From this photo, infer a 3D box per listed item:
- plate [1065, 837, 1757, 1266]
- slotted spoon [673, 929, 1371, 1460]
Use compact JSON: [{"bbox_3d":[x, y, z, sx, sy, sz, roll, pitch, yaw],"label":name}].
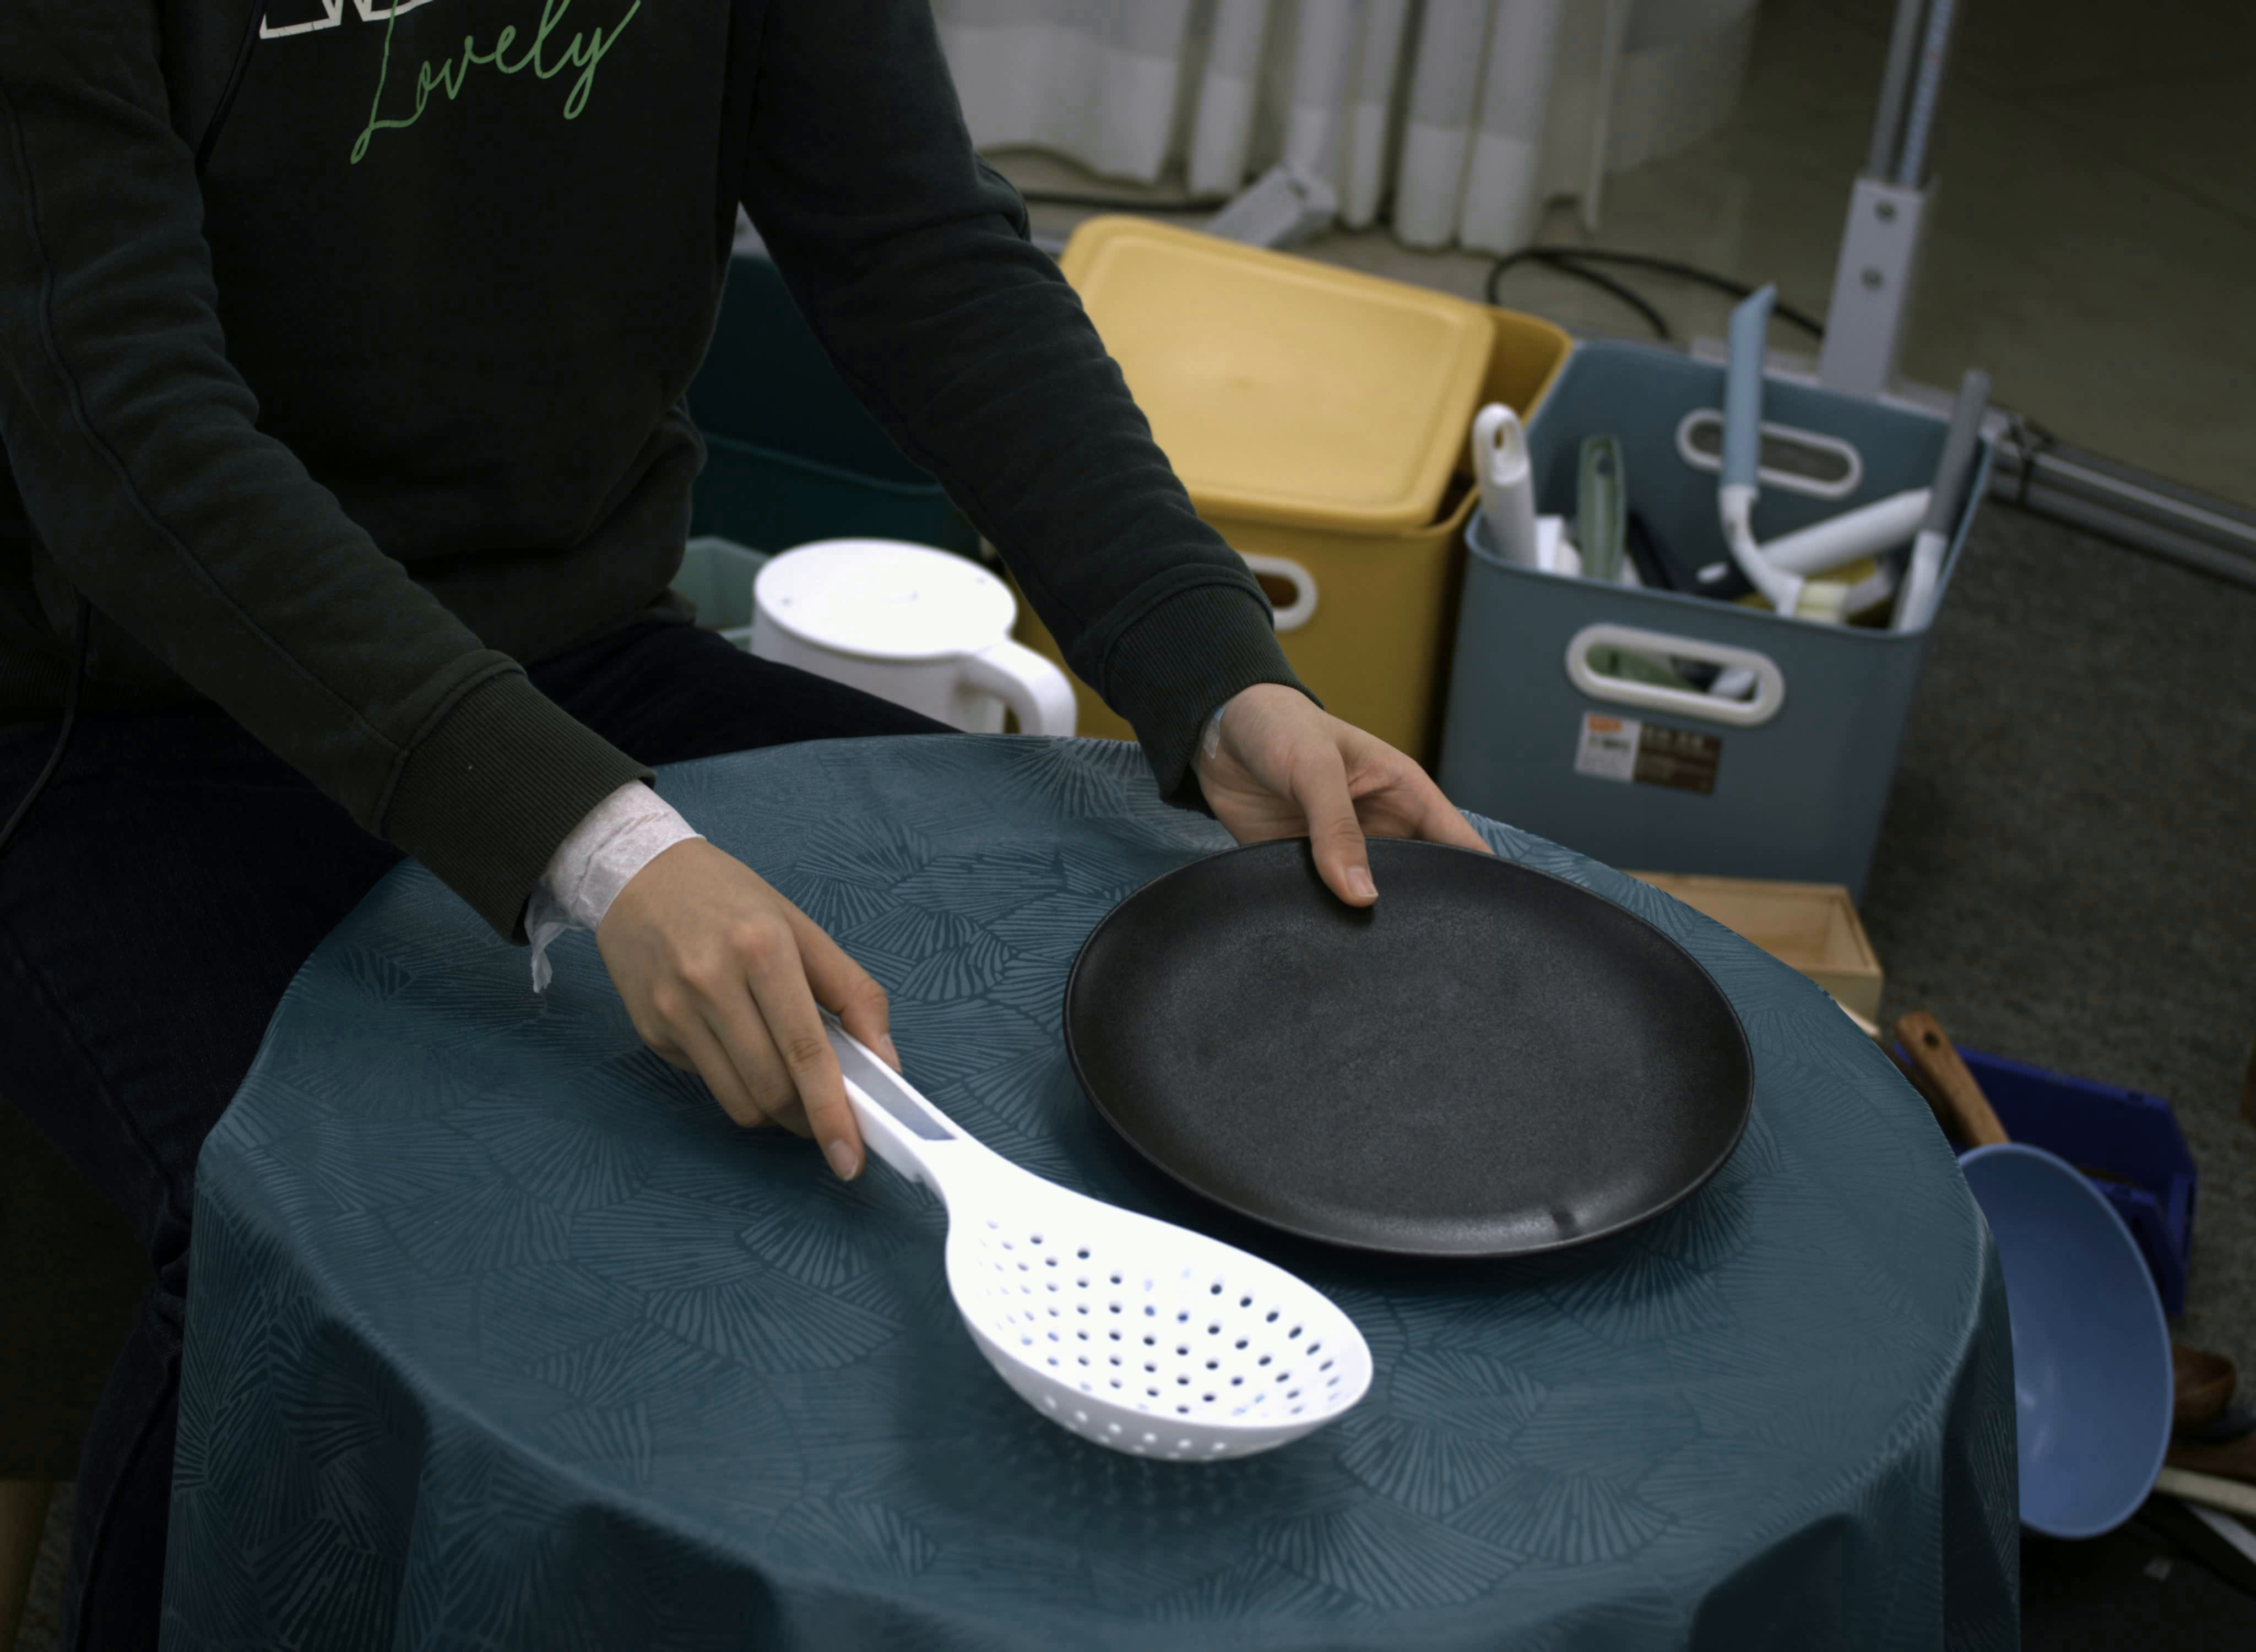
[{"bbox_3d":[0.098,0.081,1.856,0.243,0.023,0.246,4,34,-3],"label":"plate"},{"bbox_3d":[-0.052,0.114,1.735,0.135,0.045,0.353,0,29,-38],"label":"slotted spoon"}]
